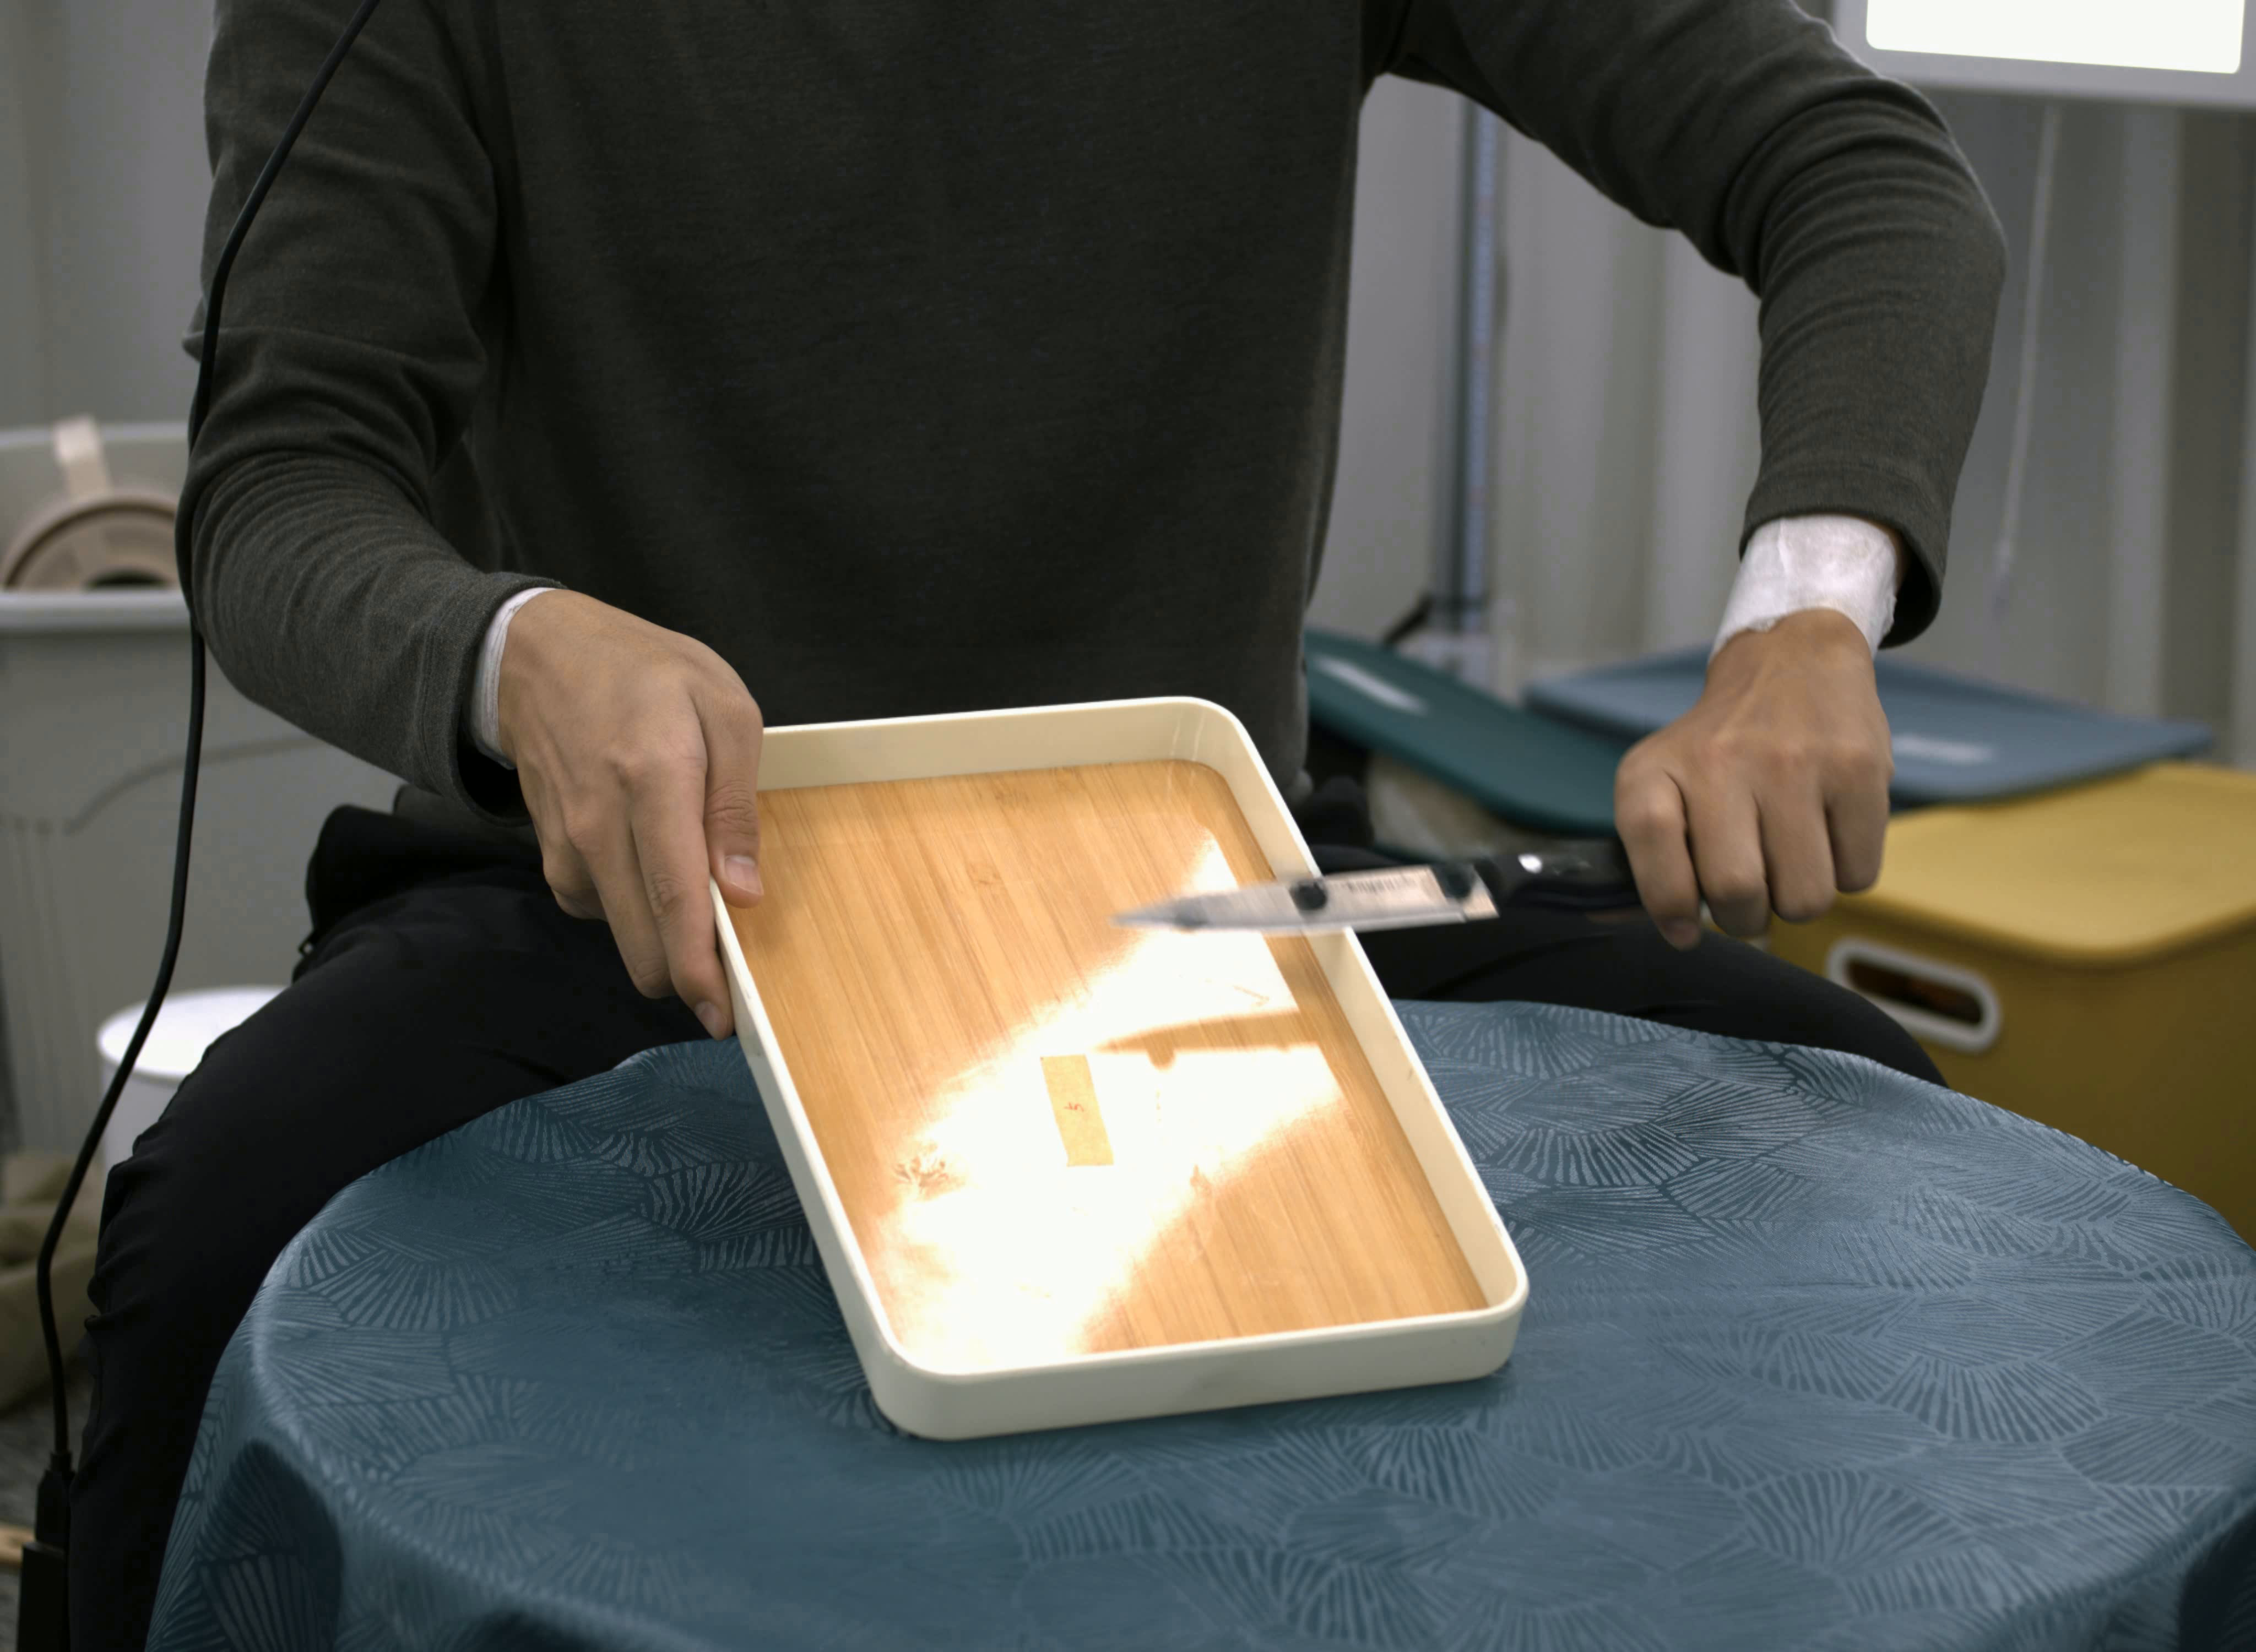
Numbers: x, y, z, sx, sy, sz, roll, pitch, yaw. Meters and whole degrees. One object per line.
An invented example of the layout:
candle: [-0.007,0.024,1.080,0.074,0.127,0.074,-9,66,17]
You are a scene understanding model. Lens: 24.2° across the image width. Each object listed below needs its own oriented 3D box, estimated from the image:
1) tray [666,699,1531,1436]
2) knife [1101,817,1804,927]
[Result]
tray: [-0.015,0.063,1.552,0.192,0.027,0.296,-3,38,-18]
knife: [0.101,0.015,1.619,0.239,0.016,0.024,-6,45,-23]
